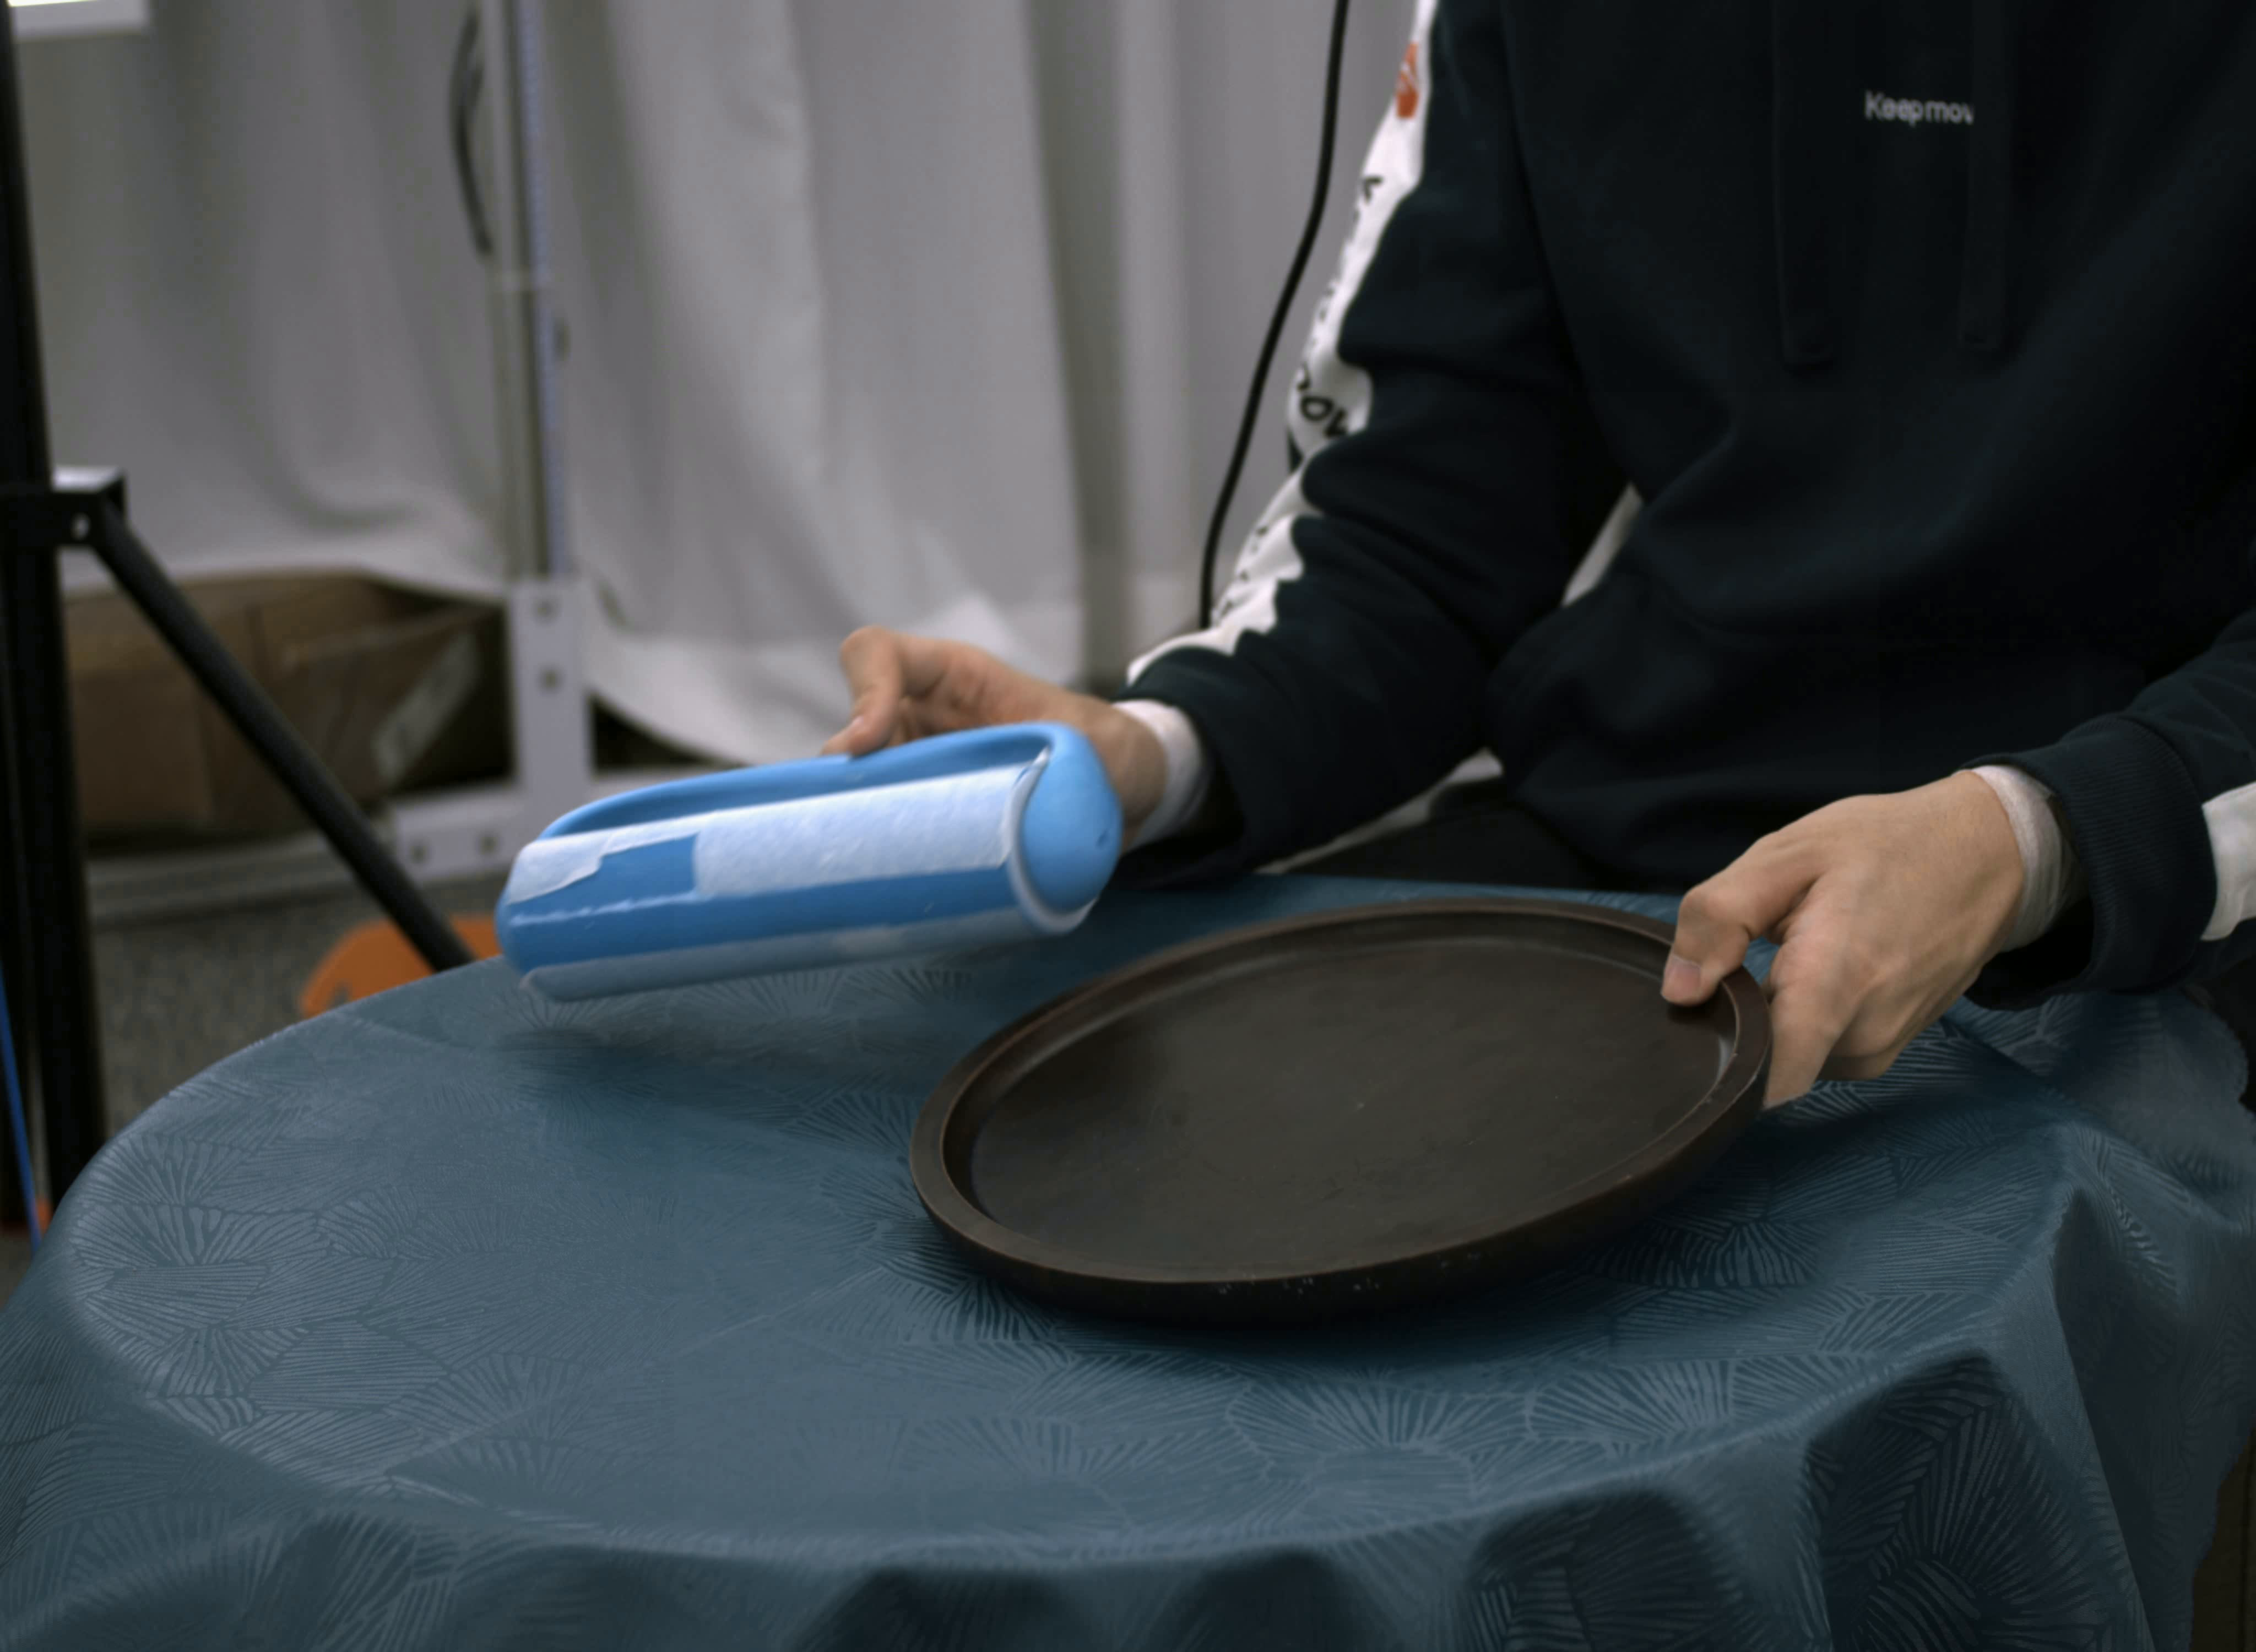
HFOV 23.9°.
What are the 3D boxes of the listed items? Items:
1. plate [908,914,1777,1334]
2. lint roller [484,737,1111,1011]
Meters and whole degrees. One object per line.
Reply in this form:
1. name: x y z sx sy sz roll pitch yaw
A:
1. plate: 0.062 0.083 1.529 0.254 0.029 0.256 -11 21 3
2. lint roller: -0.081 0.009 1.722 0.232 0.068 0.177 -10 6 30
